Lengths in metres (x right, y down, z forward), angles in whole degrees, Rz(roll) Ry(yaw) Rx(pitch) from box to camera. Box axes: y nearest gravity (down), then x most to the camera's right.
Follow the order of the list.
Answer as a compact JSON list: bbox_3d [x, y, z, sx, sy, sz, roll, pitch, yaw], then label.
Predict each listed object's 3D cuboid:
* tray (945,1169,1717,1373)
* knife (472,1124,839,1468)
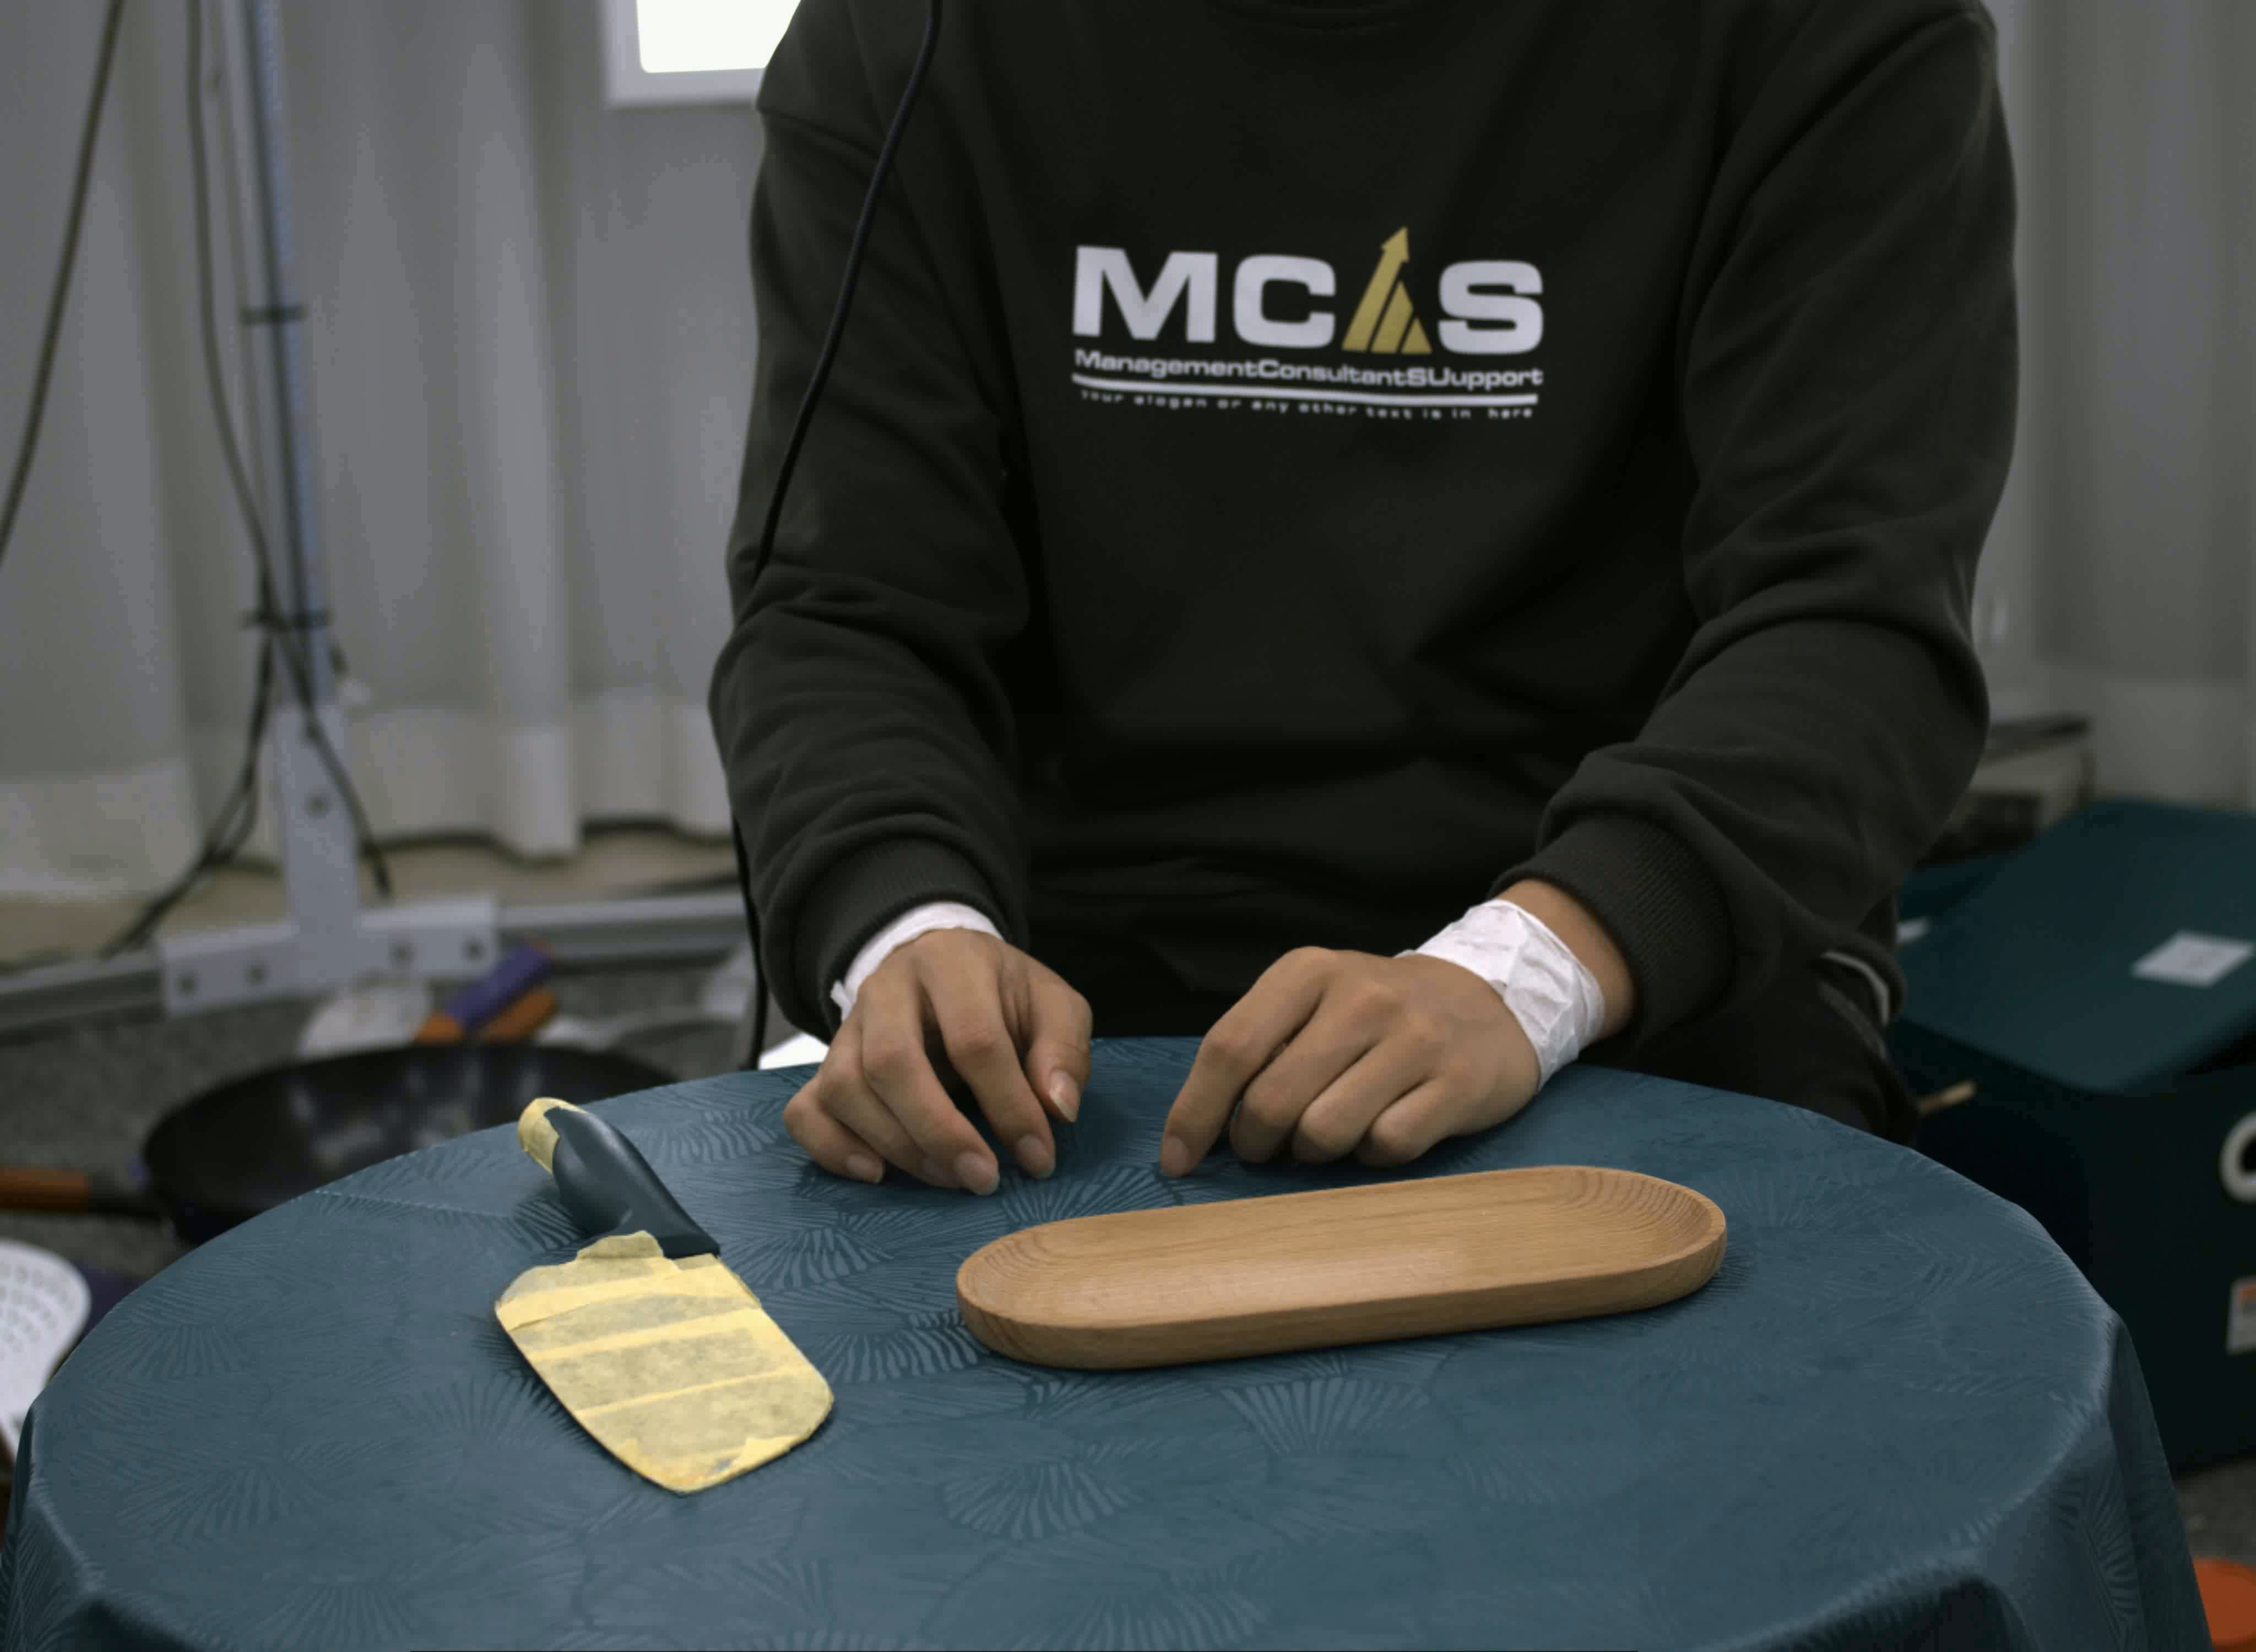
[{"bbox_3d":[0.060,0.131,1.612,0.230,0.020,0.102,-7,14,-10],"label":"tray"},{"bbox_3d":[-0.152,0.140,1.624,0.080,0.027,0.292,-6,16,-18],"label":"knife"}]
